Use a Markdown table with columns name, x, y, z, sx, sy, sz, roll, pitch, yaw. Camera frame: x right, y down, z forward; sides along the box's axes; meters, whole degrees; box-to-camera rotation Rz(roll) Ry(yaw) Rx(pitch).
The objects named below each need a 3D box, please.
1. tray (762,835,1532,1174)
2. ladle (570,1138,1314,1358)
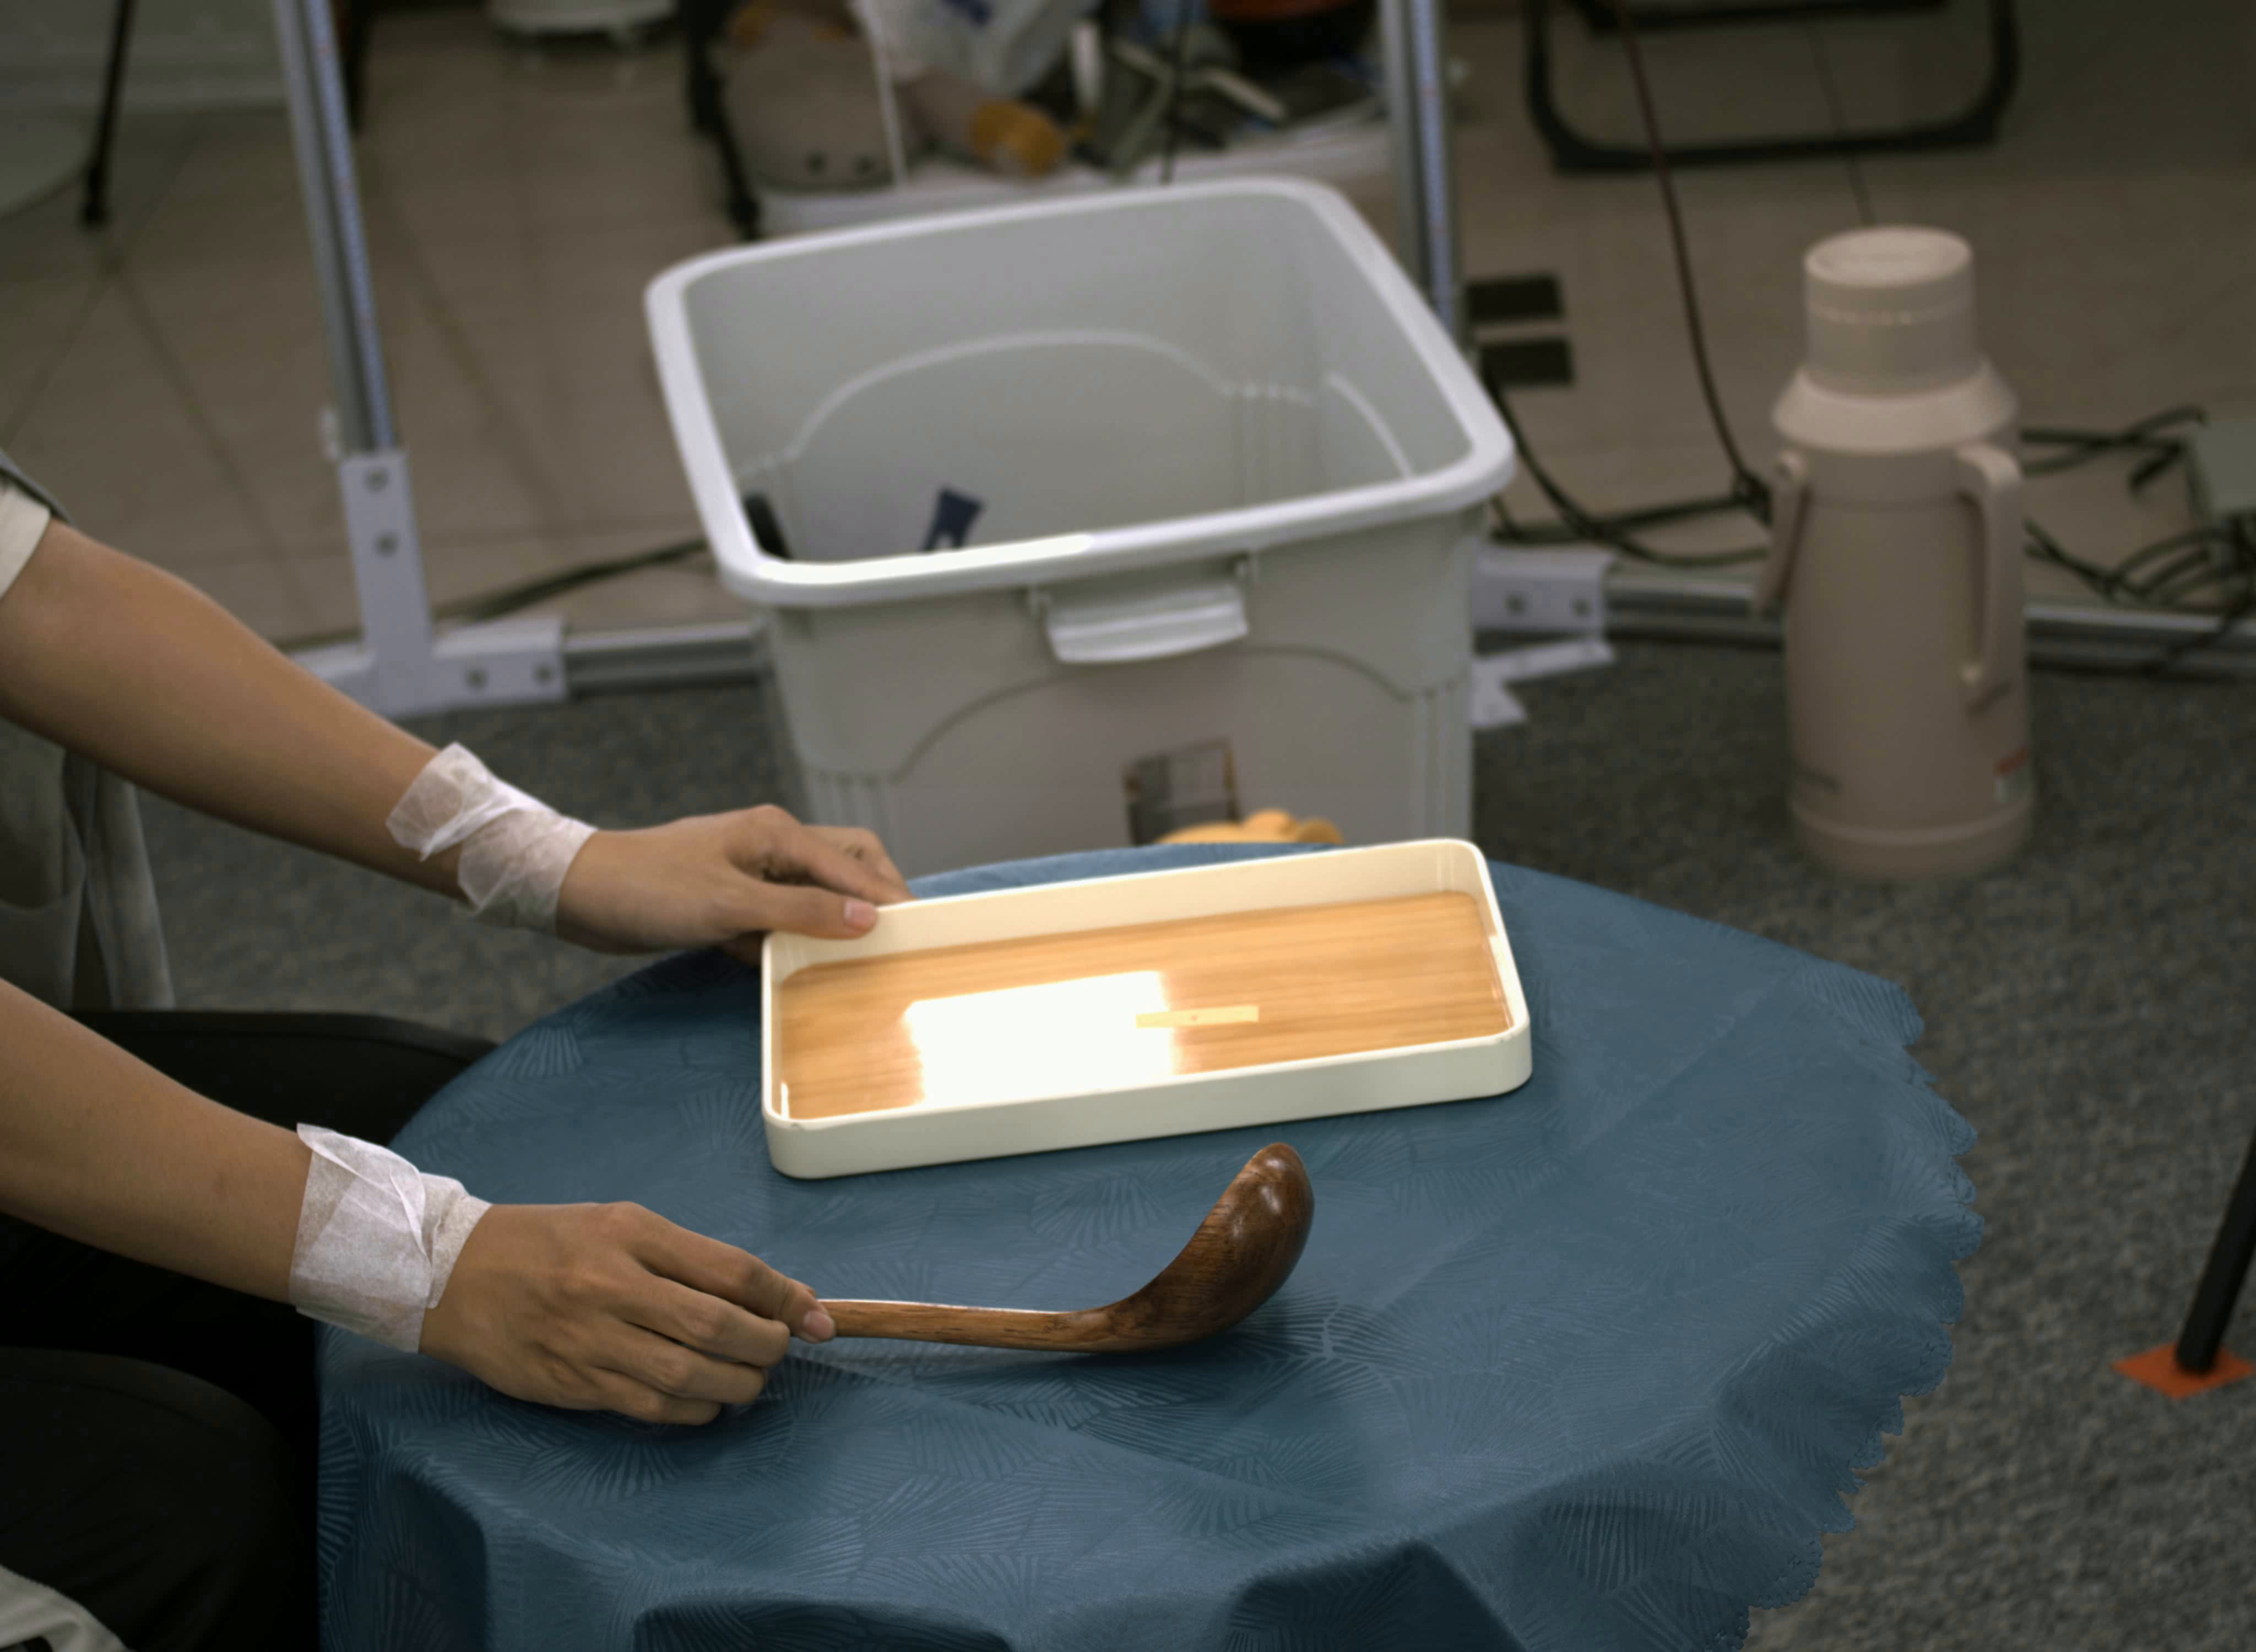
| name | x | y | z | sx | sy | sz | roll | pitch | yaw |
| --- | --- | --- | --- | --- | --- | --- | --- | --- | --- |
| tray | 0.004 | 0.070 | 2.266 | 0.300 | 0.028 | 0.189 | -7 | 25 | 0 |
| ladle | -0.069 | 0.152 | 2.049 | 0.273 | 0.076 | 0.082 | -1 | -12 | 11 |
